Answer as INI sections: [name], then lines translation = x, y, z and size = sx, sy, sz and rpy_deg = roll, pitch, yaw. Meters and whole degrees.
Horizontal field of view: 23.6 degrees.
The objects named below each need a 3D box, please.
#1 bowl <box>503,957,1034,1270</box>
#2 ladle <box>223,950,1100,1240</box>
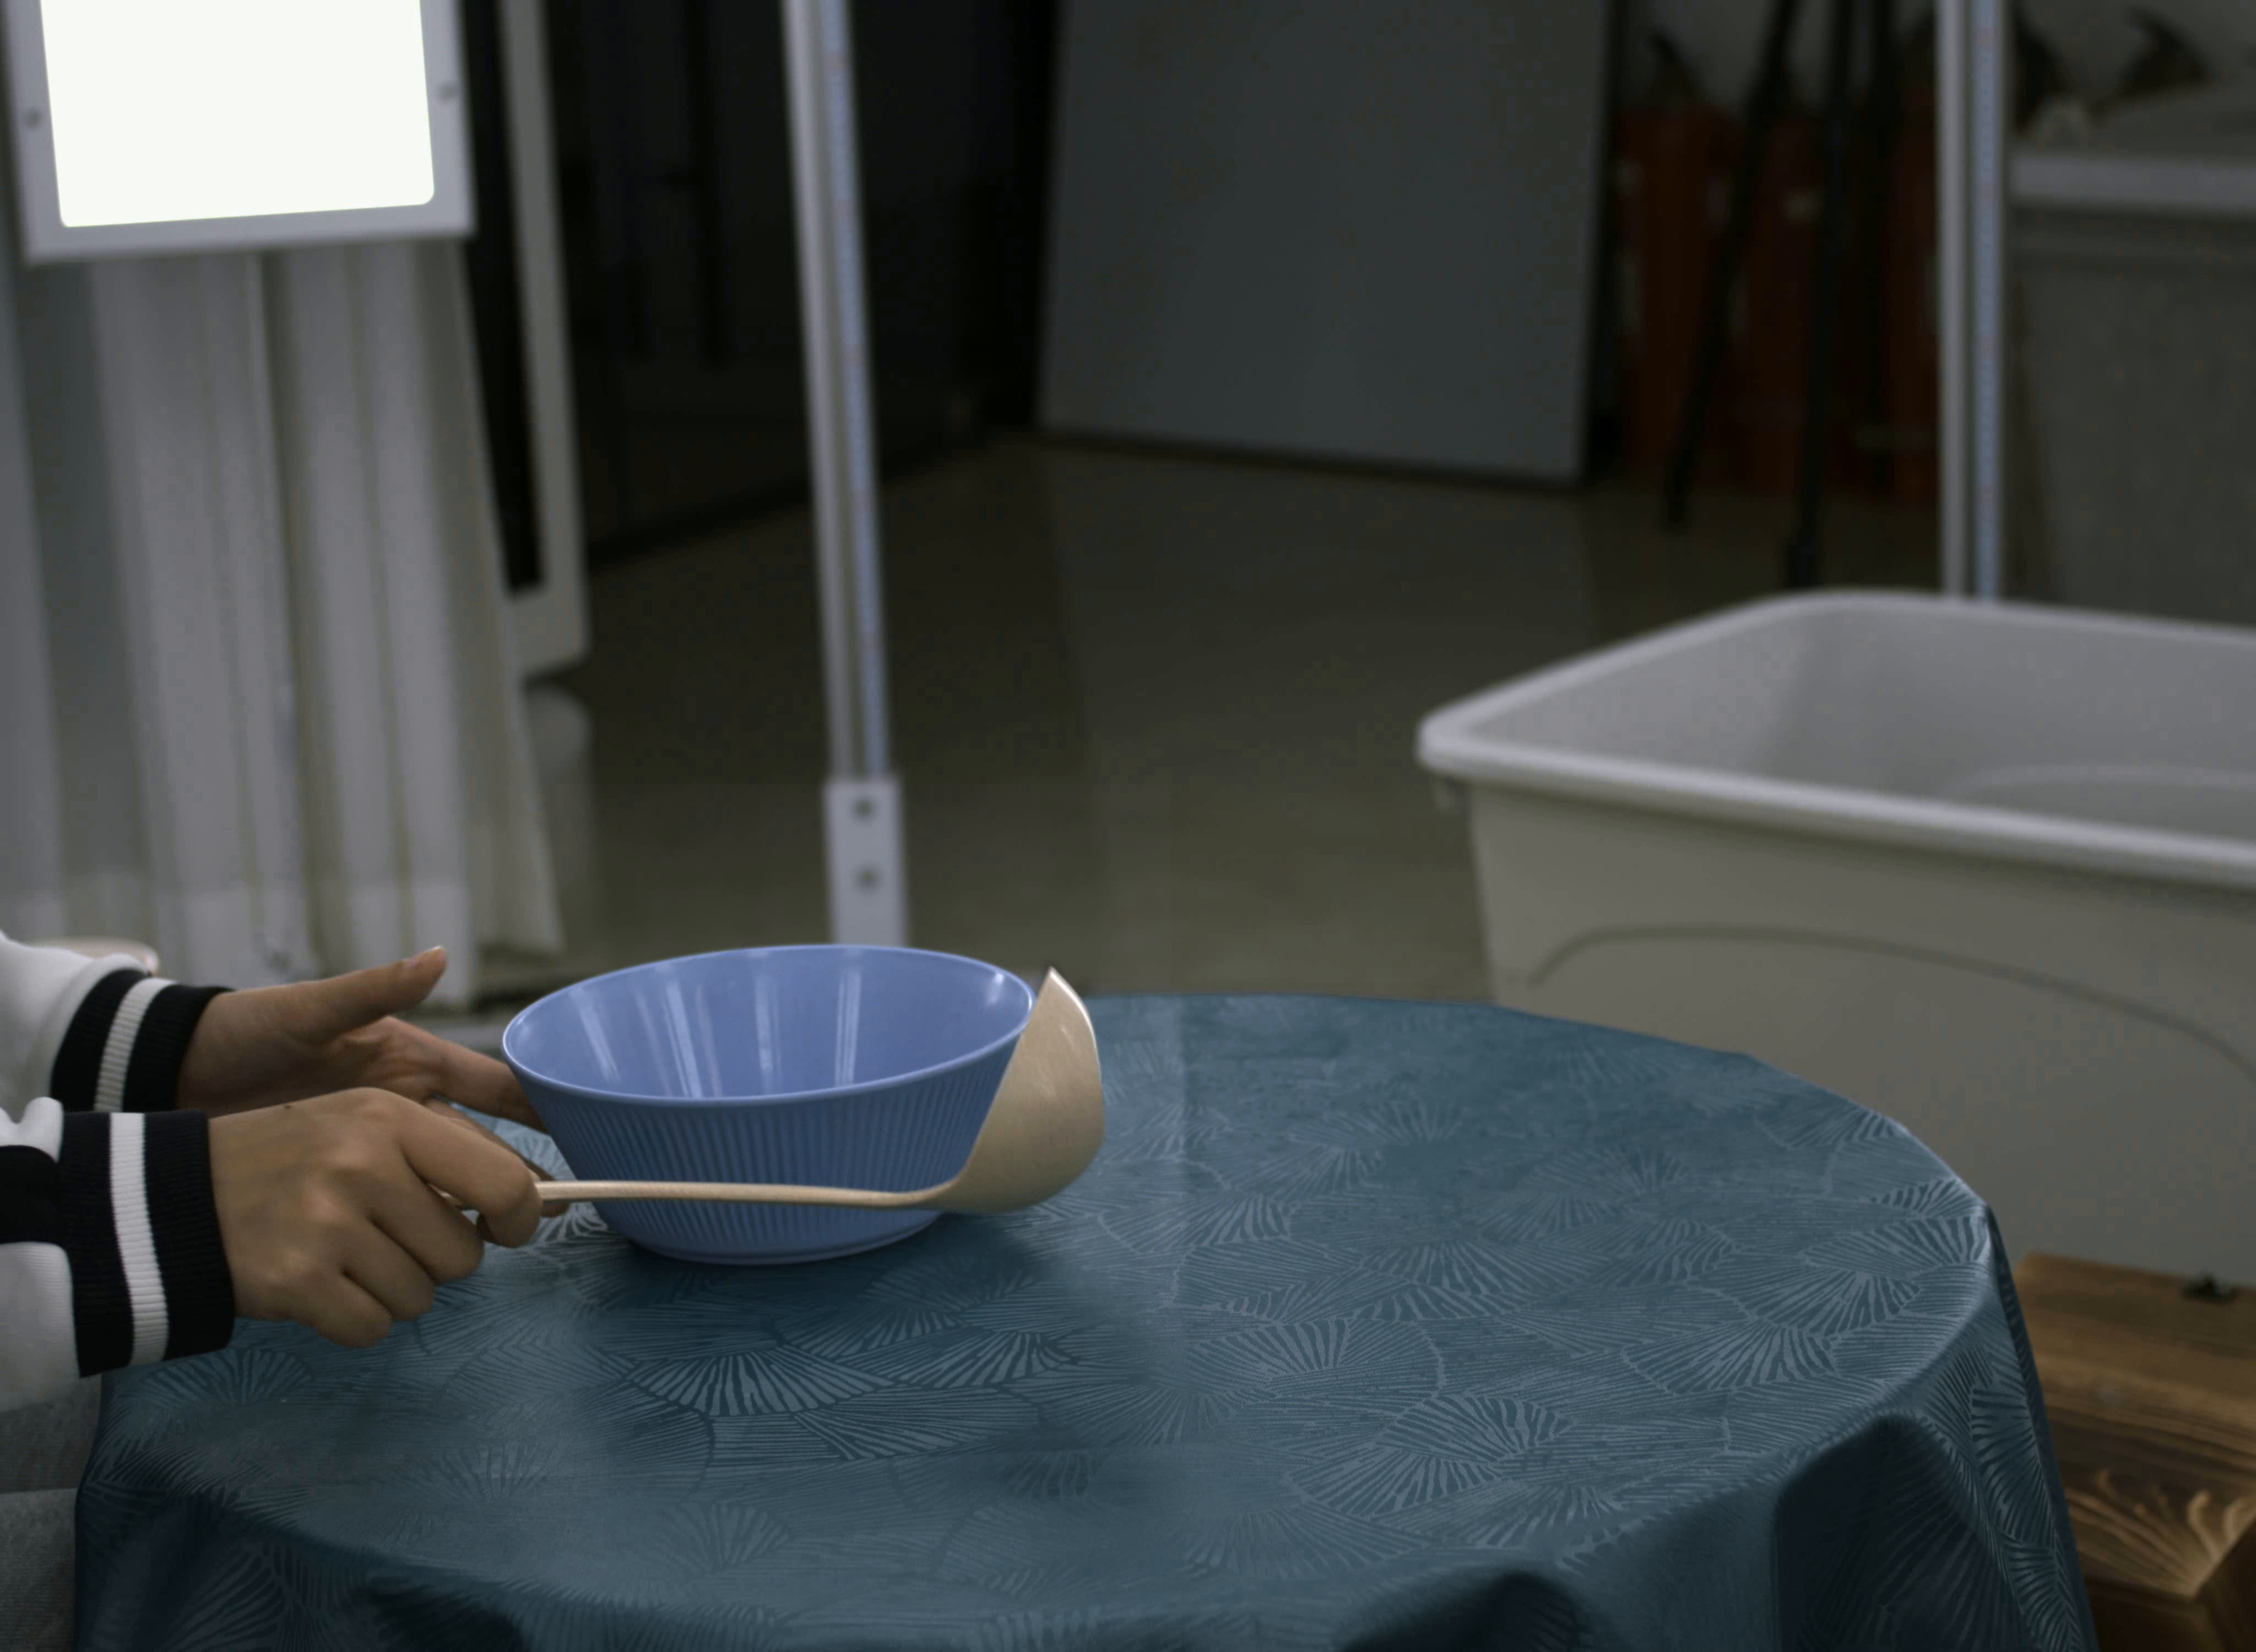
[bowl]
translation = -0.114, 0.096, 1.761
size = 0.174, 0.071, 0.176
rpy_deg = -4, 13, 0
[ladle]
translation = -0.134, 0.077, 1.557
size = 0.250, 0.074, 0.072
rpy_deg = -2, -12, -5
